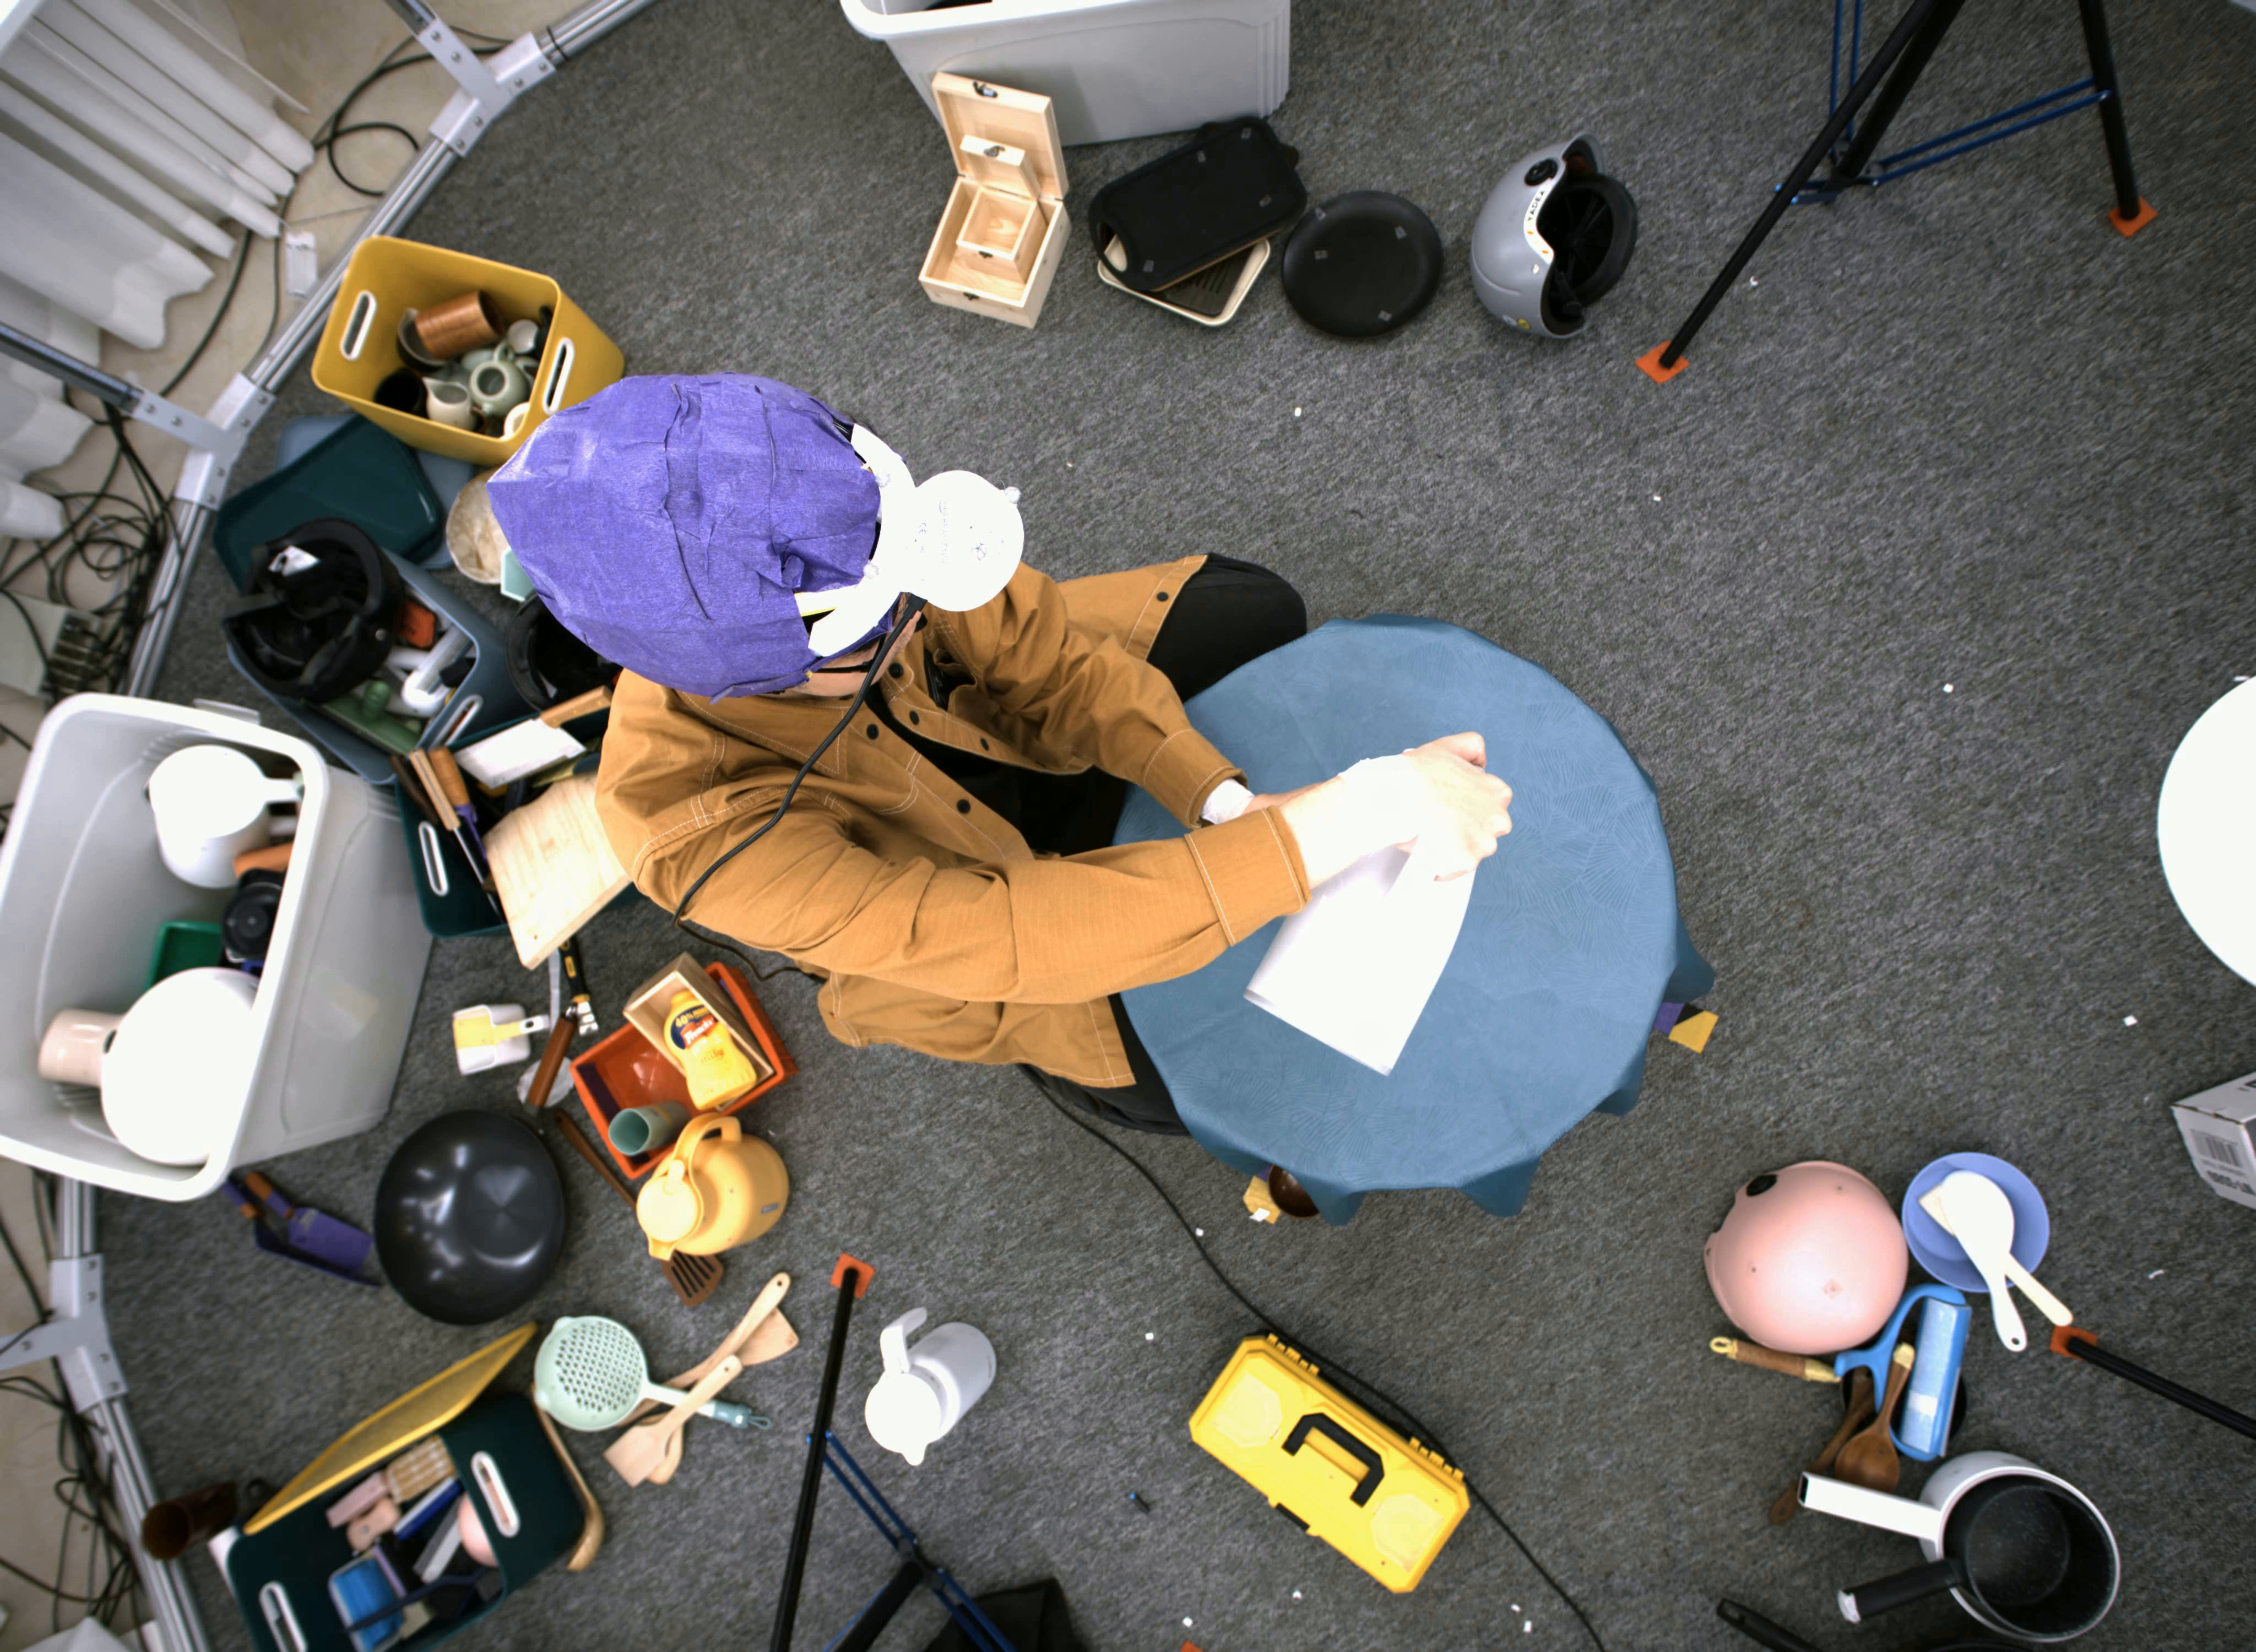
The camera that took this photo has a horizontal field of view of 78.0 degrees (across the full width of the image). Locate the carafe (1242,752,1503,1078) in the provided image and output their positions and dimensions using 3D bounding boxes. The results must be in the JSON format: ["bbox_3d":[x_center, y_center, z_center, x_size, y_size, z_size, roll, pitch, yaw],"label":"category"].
[{"bbox_3d":[0.210,0.062,1.101,0.132,0.168,0.248,30,88,3],"label":"carafe"}]

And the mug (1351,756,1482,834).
[{"bbox_3d":[0.266,-0.013,1.281,0.119,0.102,0.084,-14,83,7],"label":"mug"}]
